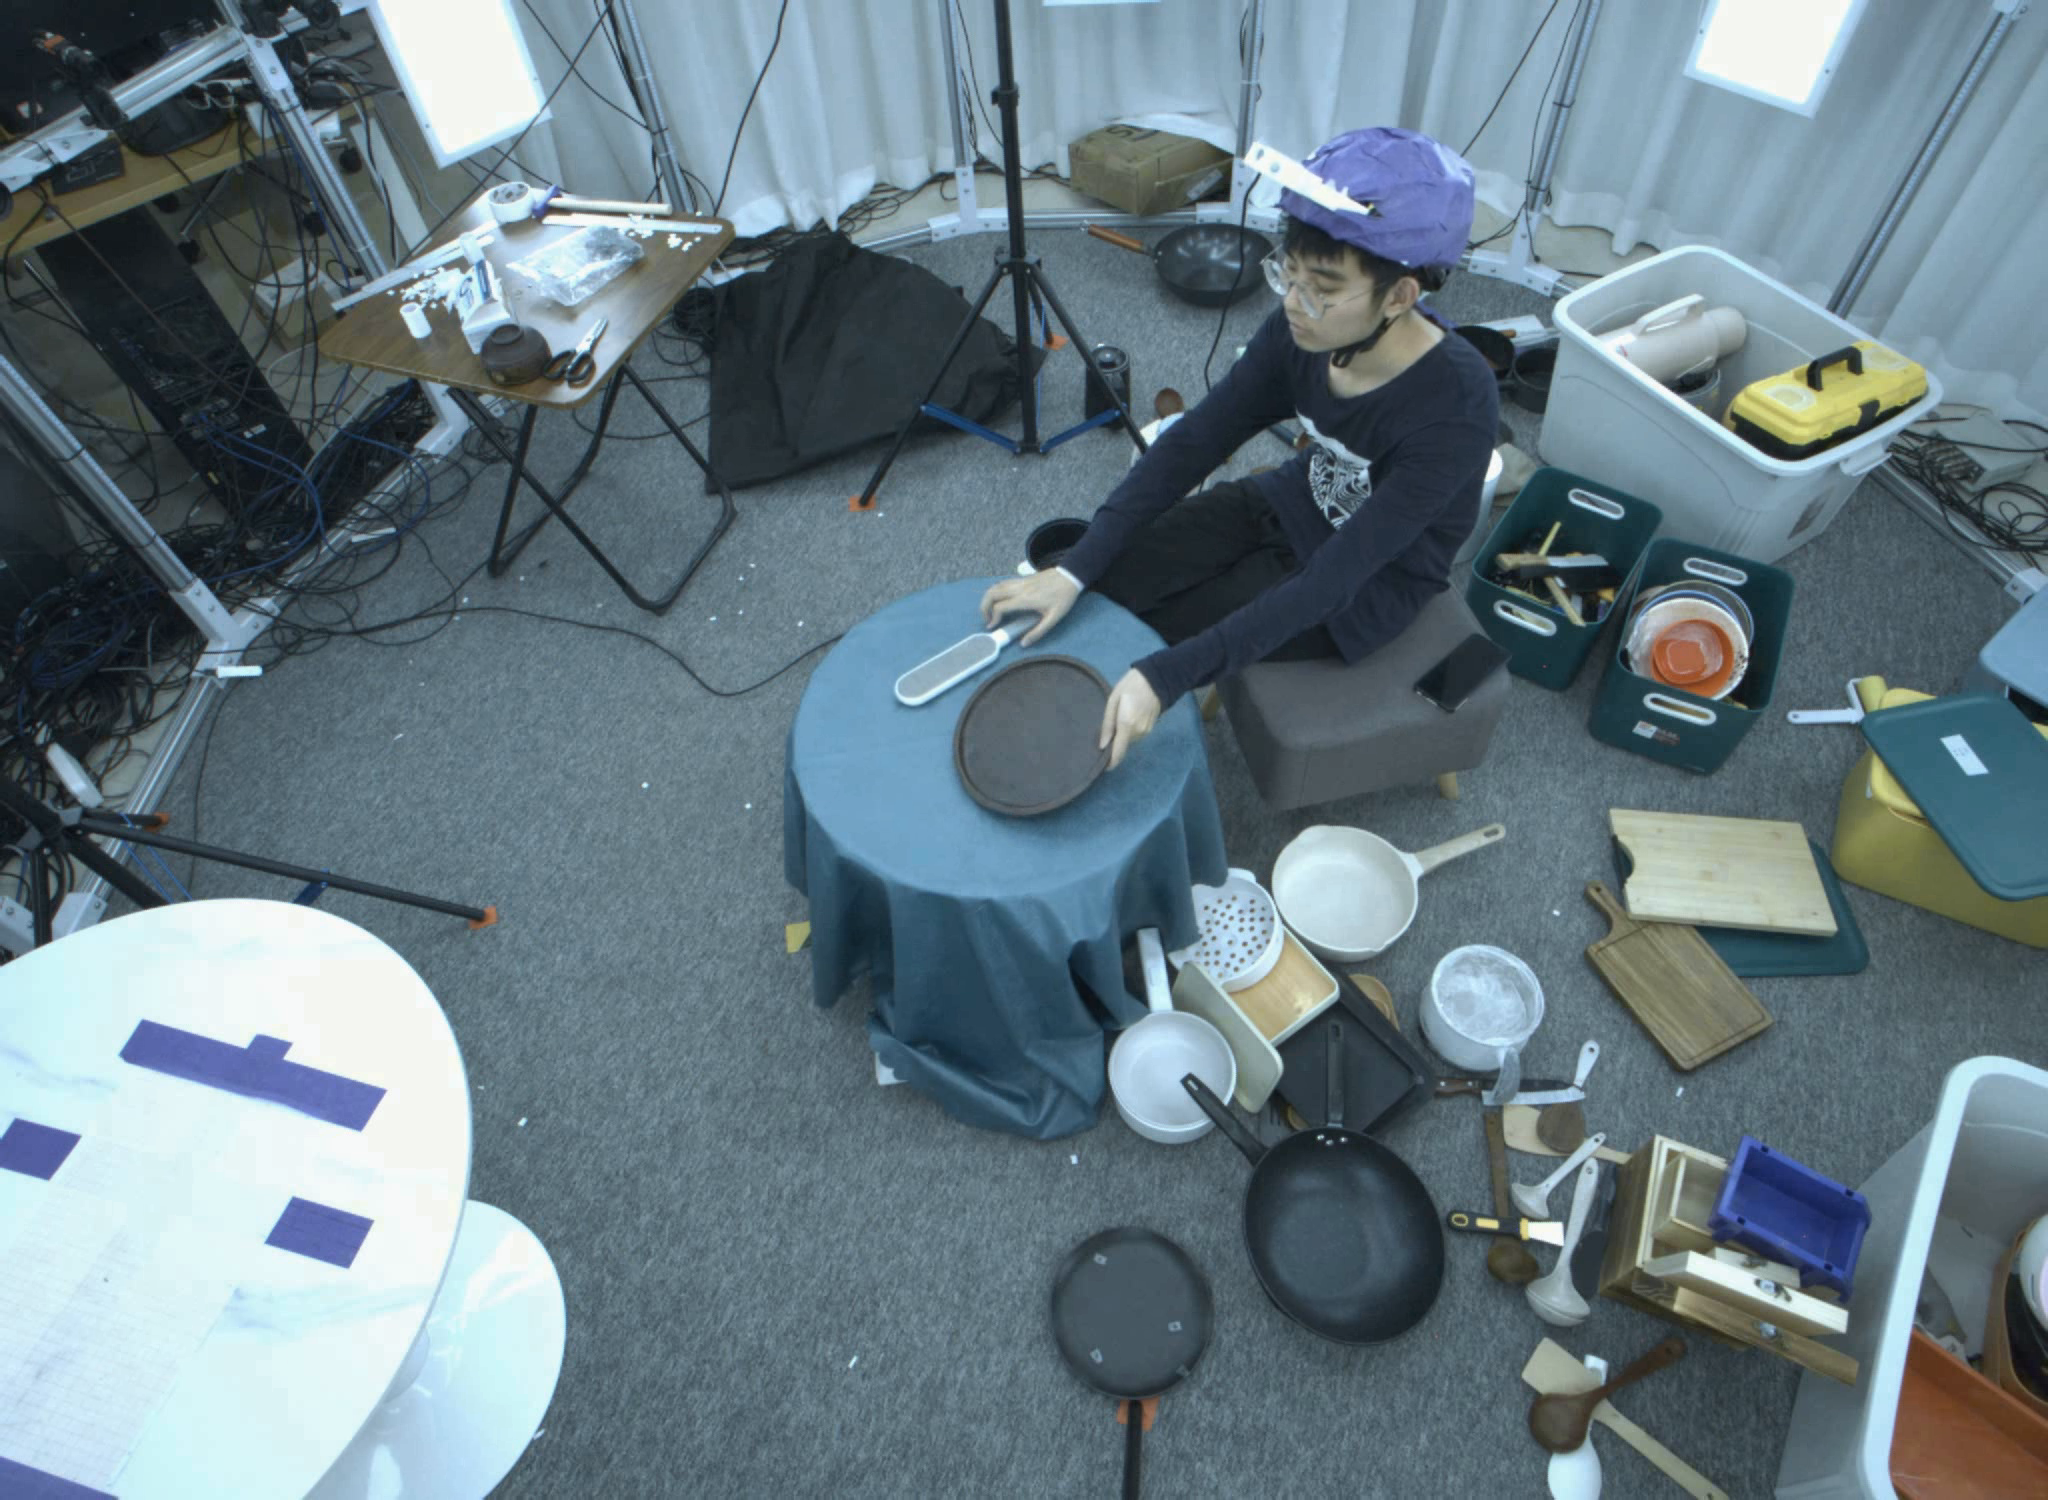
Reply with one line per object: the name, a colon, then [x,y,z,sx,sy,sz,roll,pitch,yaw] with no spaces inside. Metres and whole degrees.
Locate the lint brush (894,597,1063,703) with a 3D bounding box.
lint brush: [-0.066,-0.157,1.892,0.311,0.021,0.059,-32,54,-20]

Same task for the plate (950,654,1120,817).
plate: [0.016,-0.022,1.748,0.252,0.029,0.252,-7,65,17]
